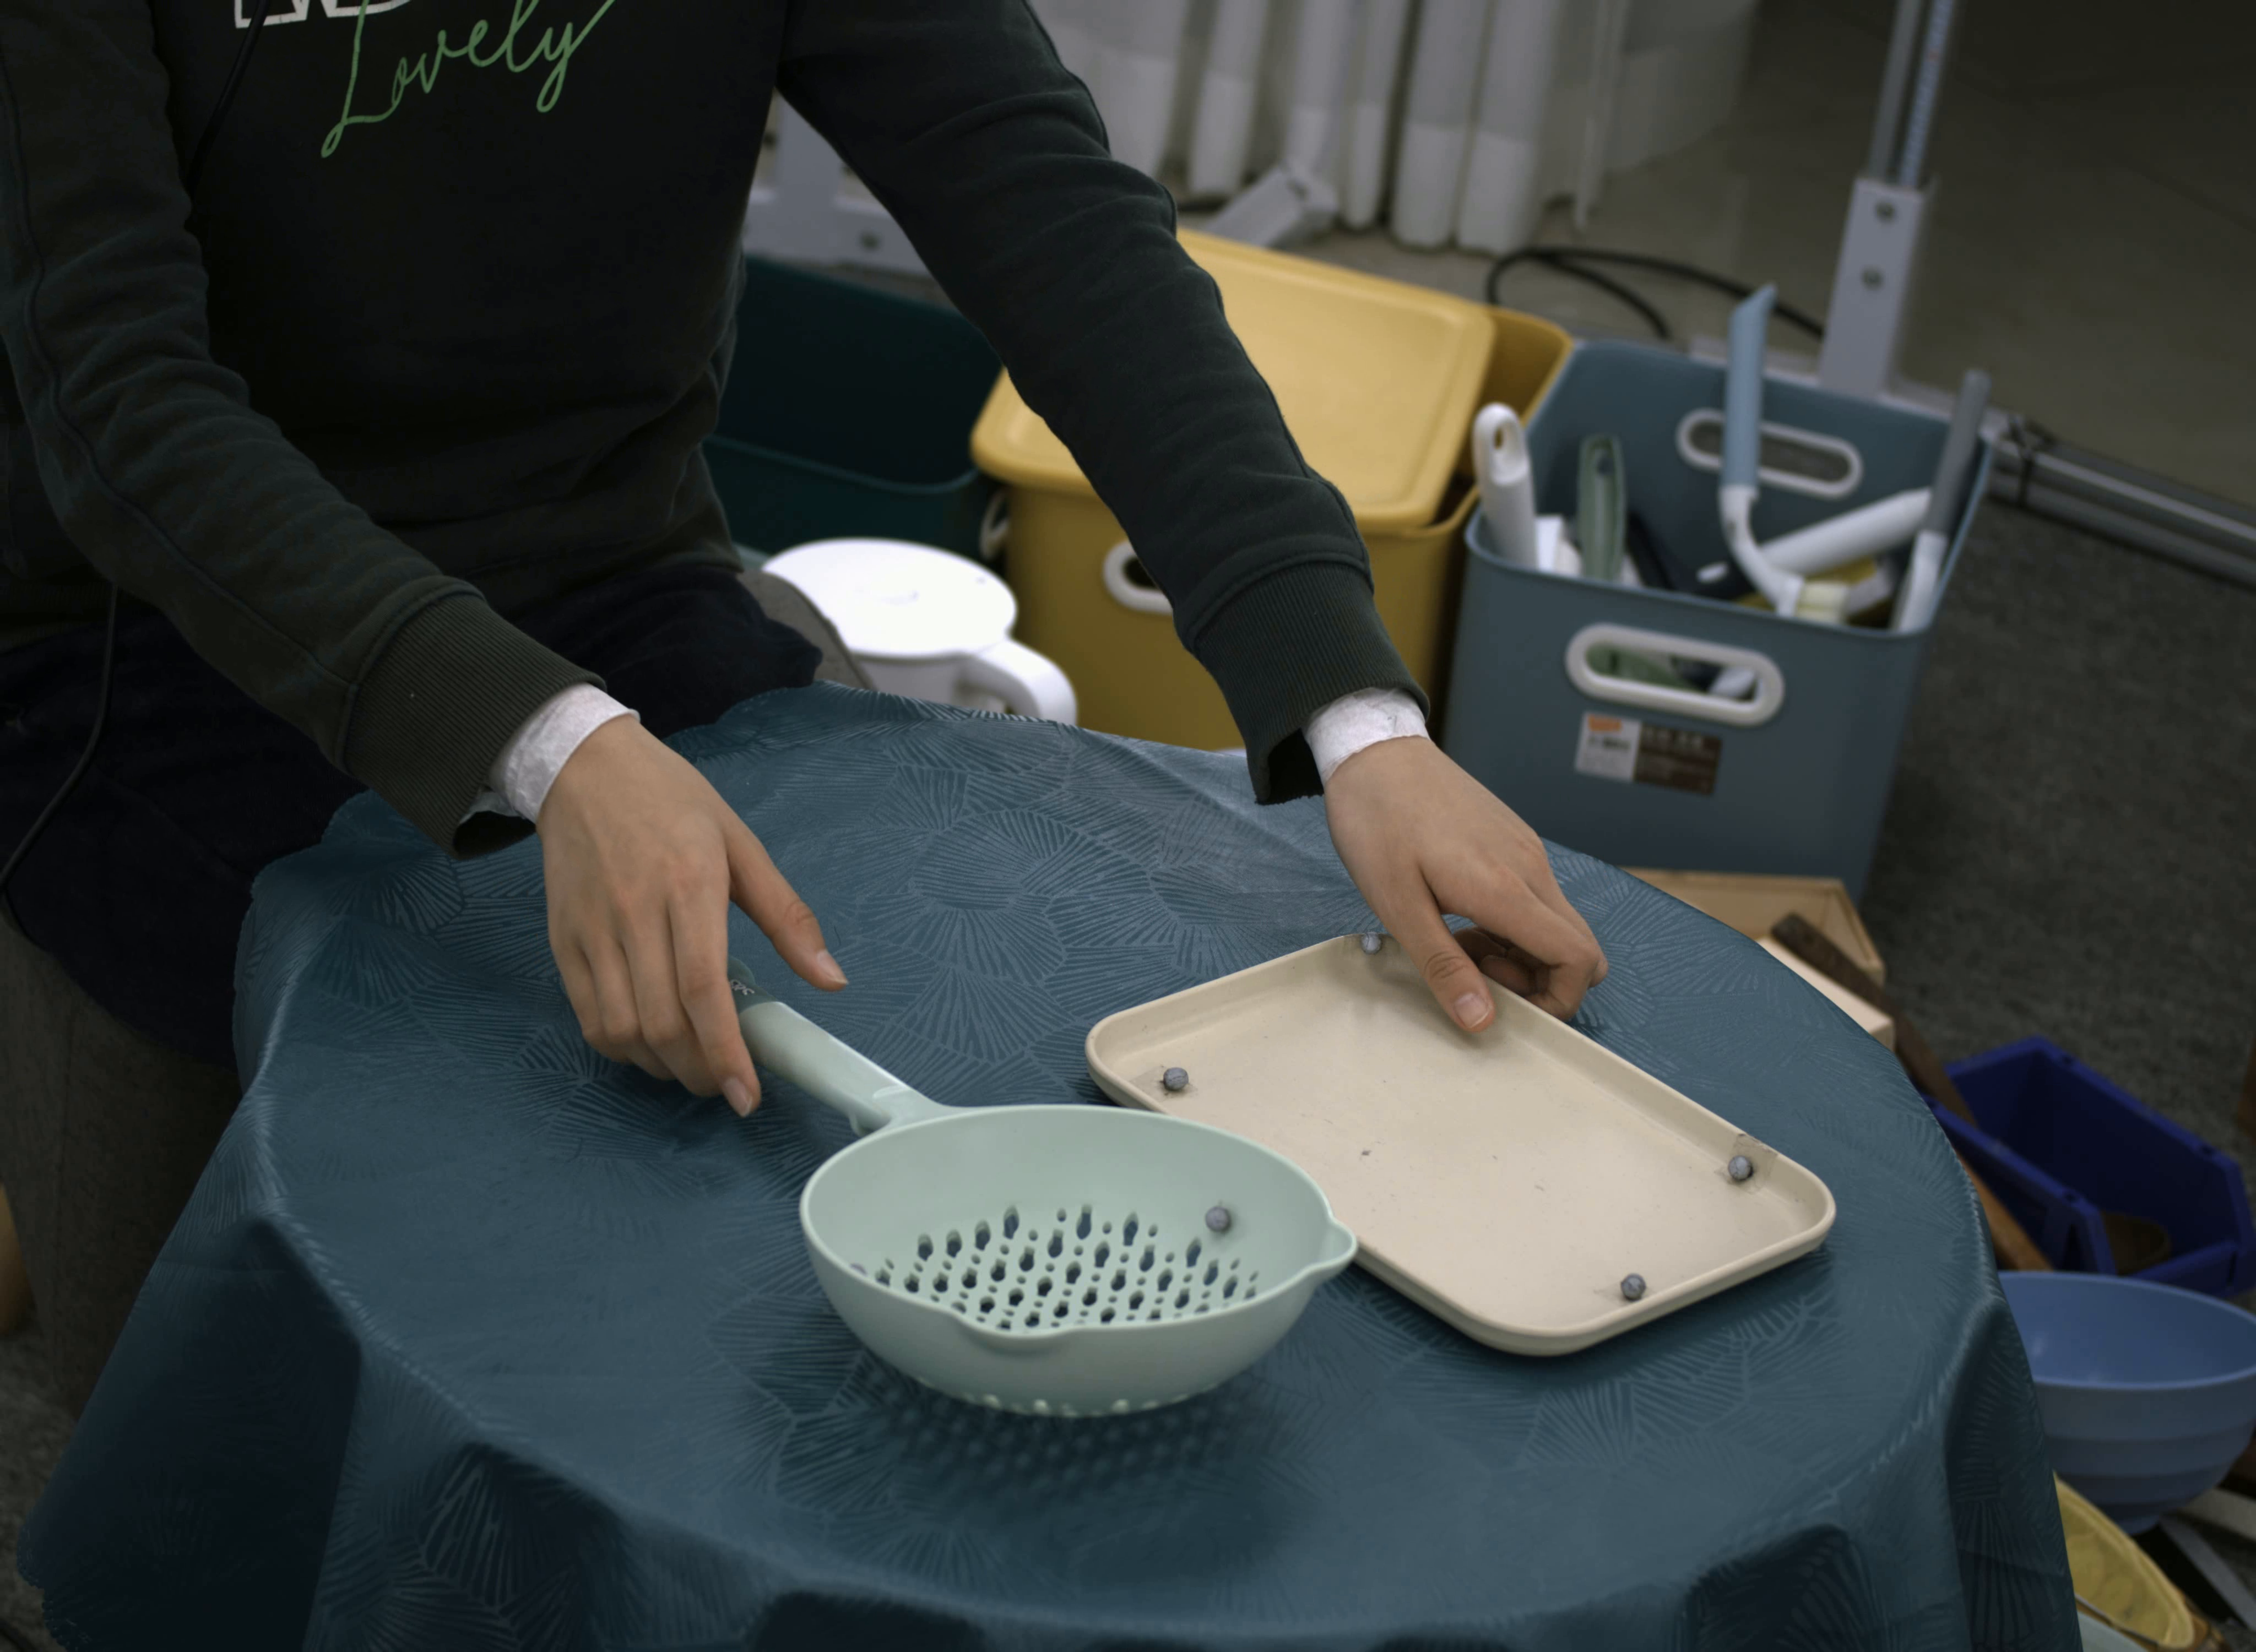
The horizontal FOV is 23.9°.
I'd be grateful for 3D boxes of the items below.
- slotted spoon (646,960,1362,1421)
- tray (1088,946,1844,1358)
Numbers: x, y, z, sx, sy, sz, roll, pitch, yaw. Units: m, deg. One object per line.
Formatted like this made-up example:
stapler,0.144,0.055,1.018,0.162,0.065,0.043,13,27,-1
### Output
slotted spoon,-0.071,0.104,1.754,0.168,0.075,0.362,-10,30,-31
tray,0.114,0.111,1.834,0.170,0.017,0.241,-17,34,-39
